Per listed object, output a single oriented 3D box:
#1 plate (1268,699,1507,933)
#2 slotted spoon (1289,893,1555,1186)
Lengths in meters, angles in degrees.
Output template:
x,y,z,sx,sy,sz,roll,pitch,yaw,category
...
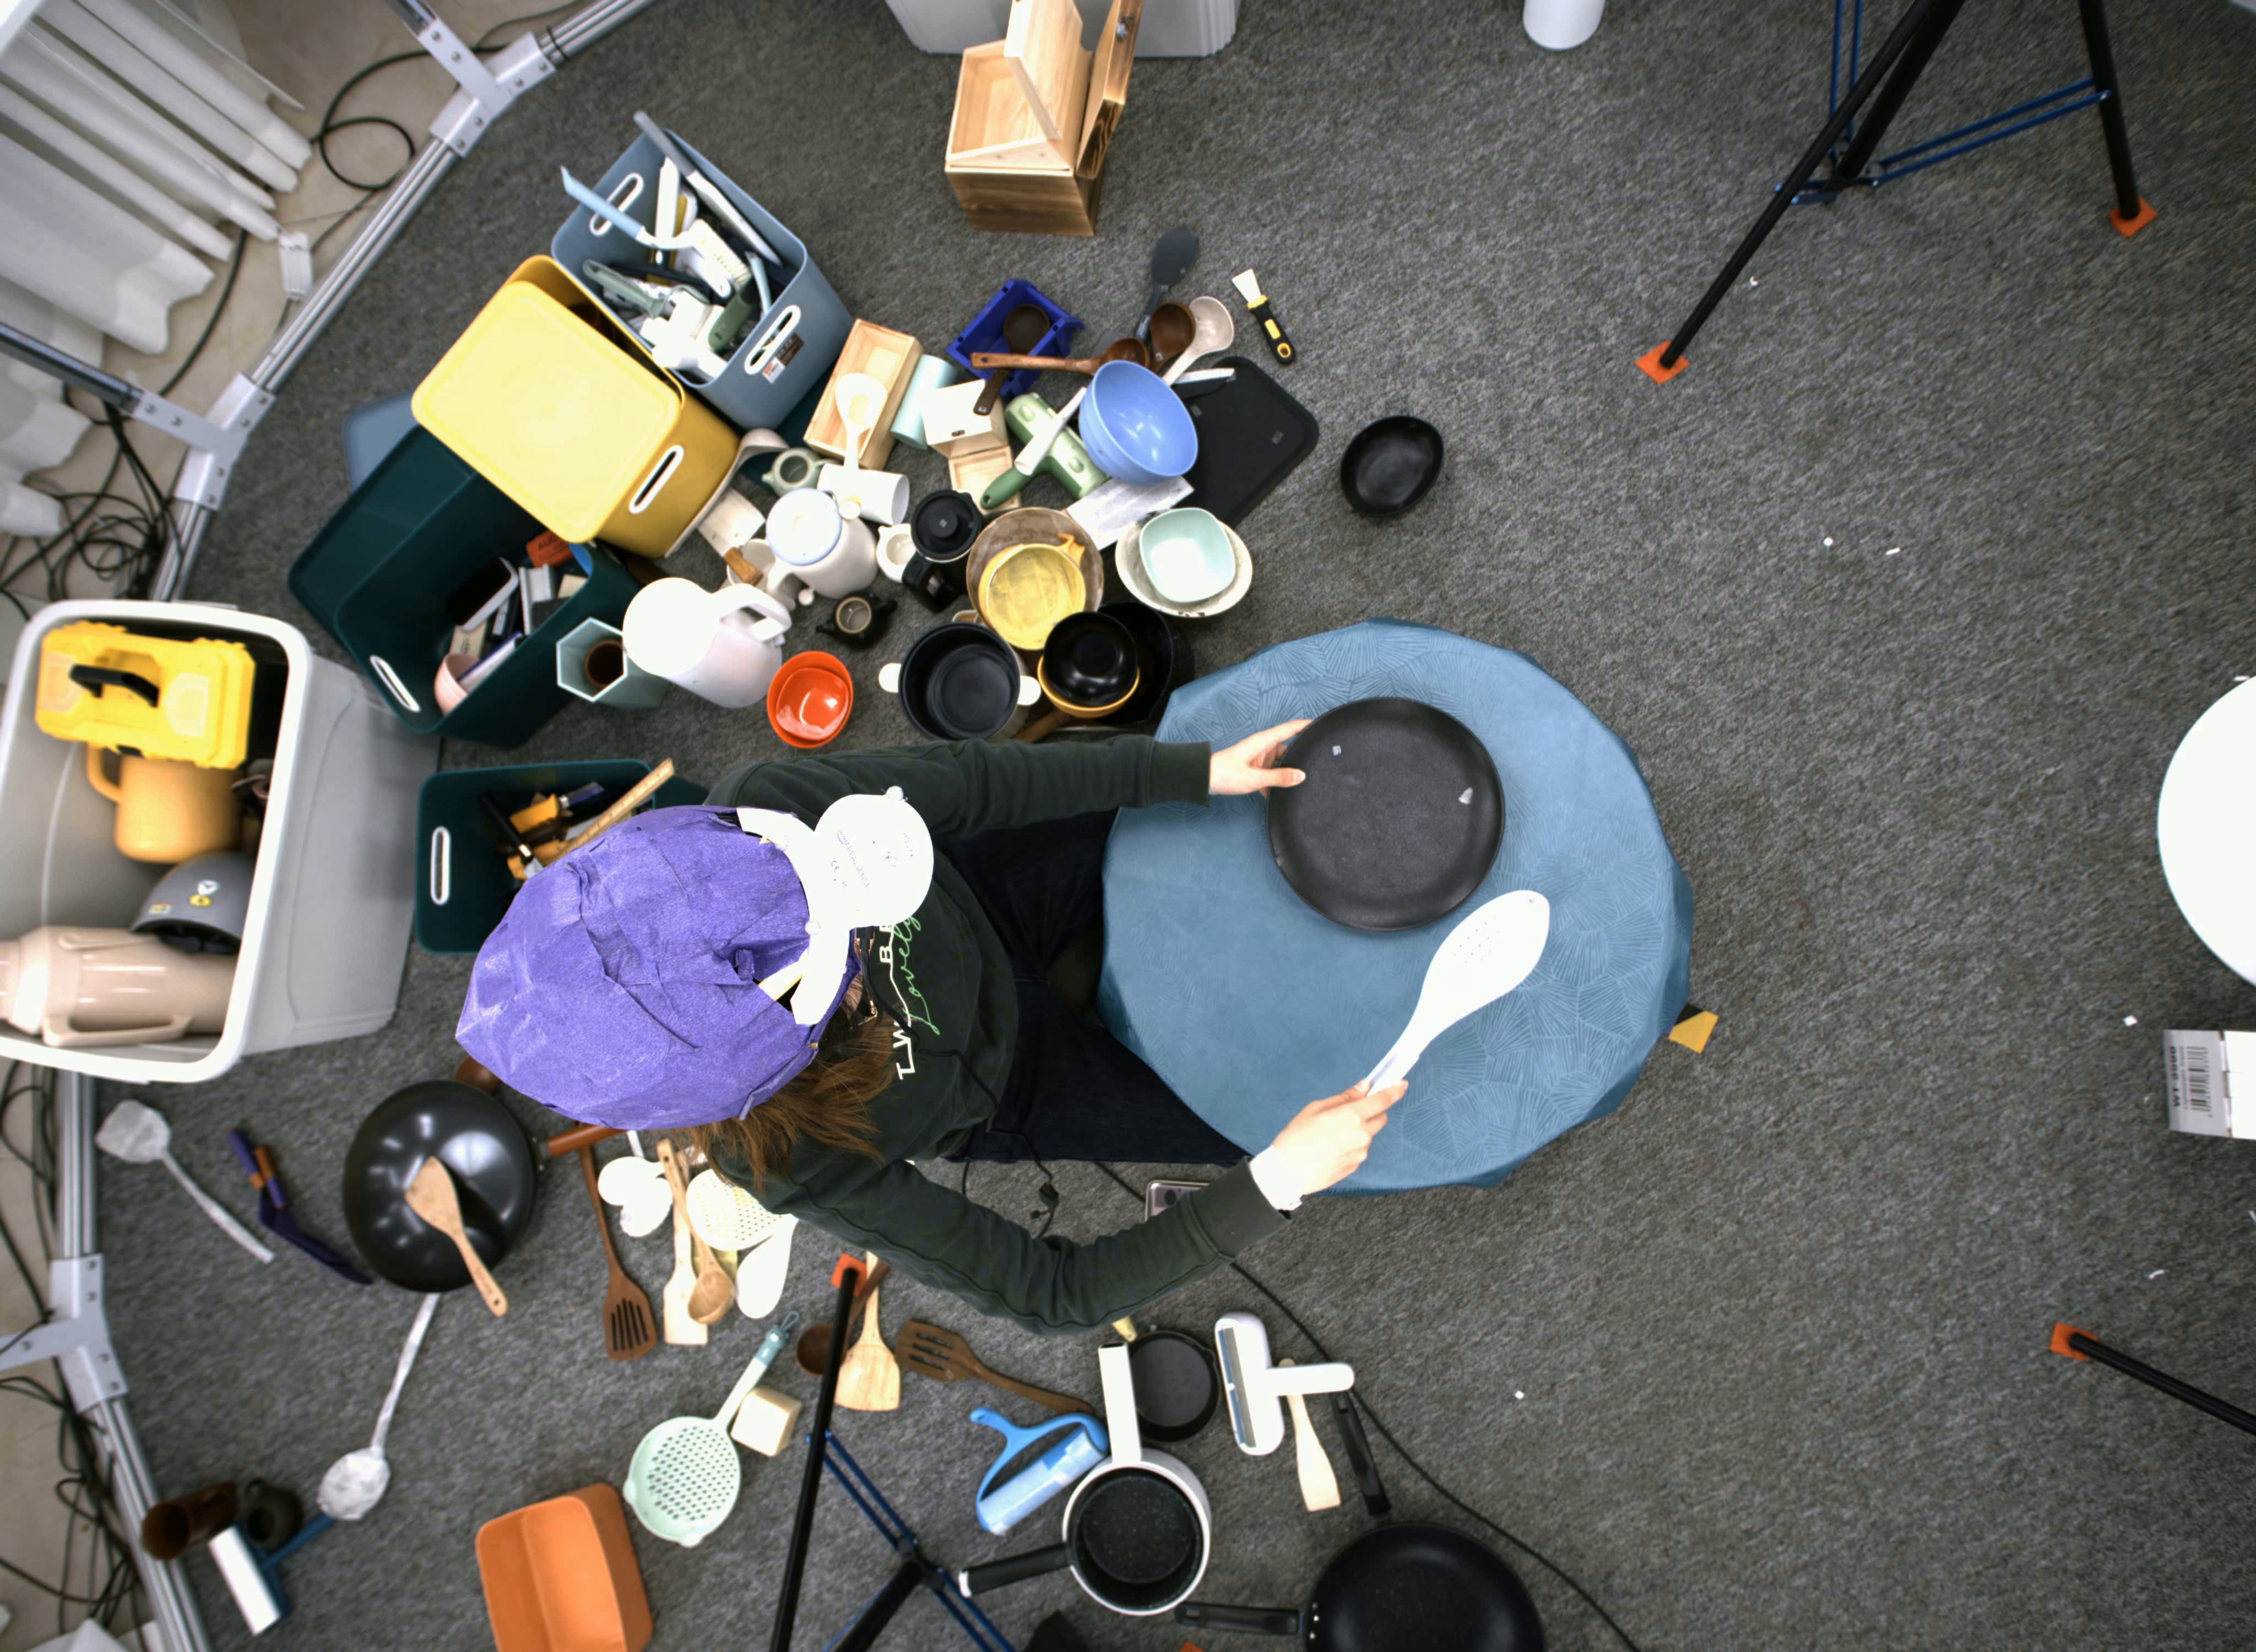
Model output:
x,y,z,sx,sy,sz,roll,pitch,yaw,category
0.266,-0.011,1.423,0.245,0.023,0.246,1,101,6,plate
0.271,0.194,1.272,0.348,0.136,0.046,-43,104,-7,slotted spoon
